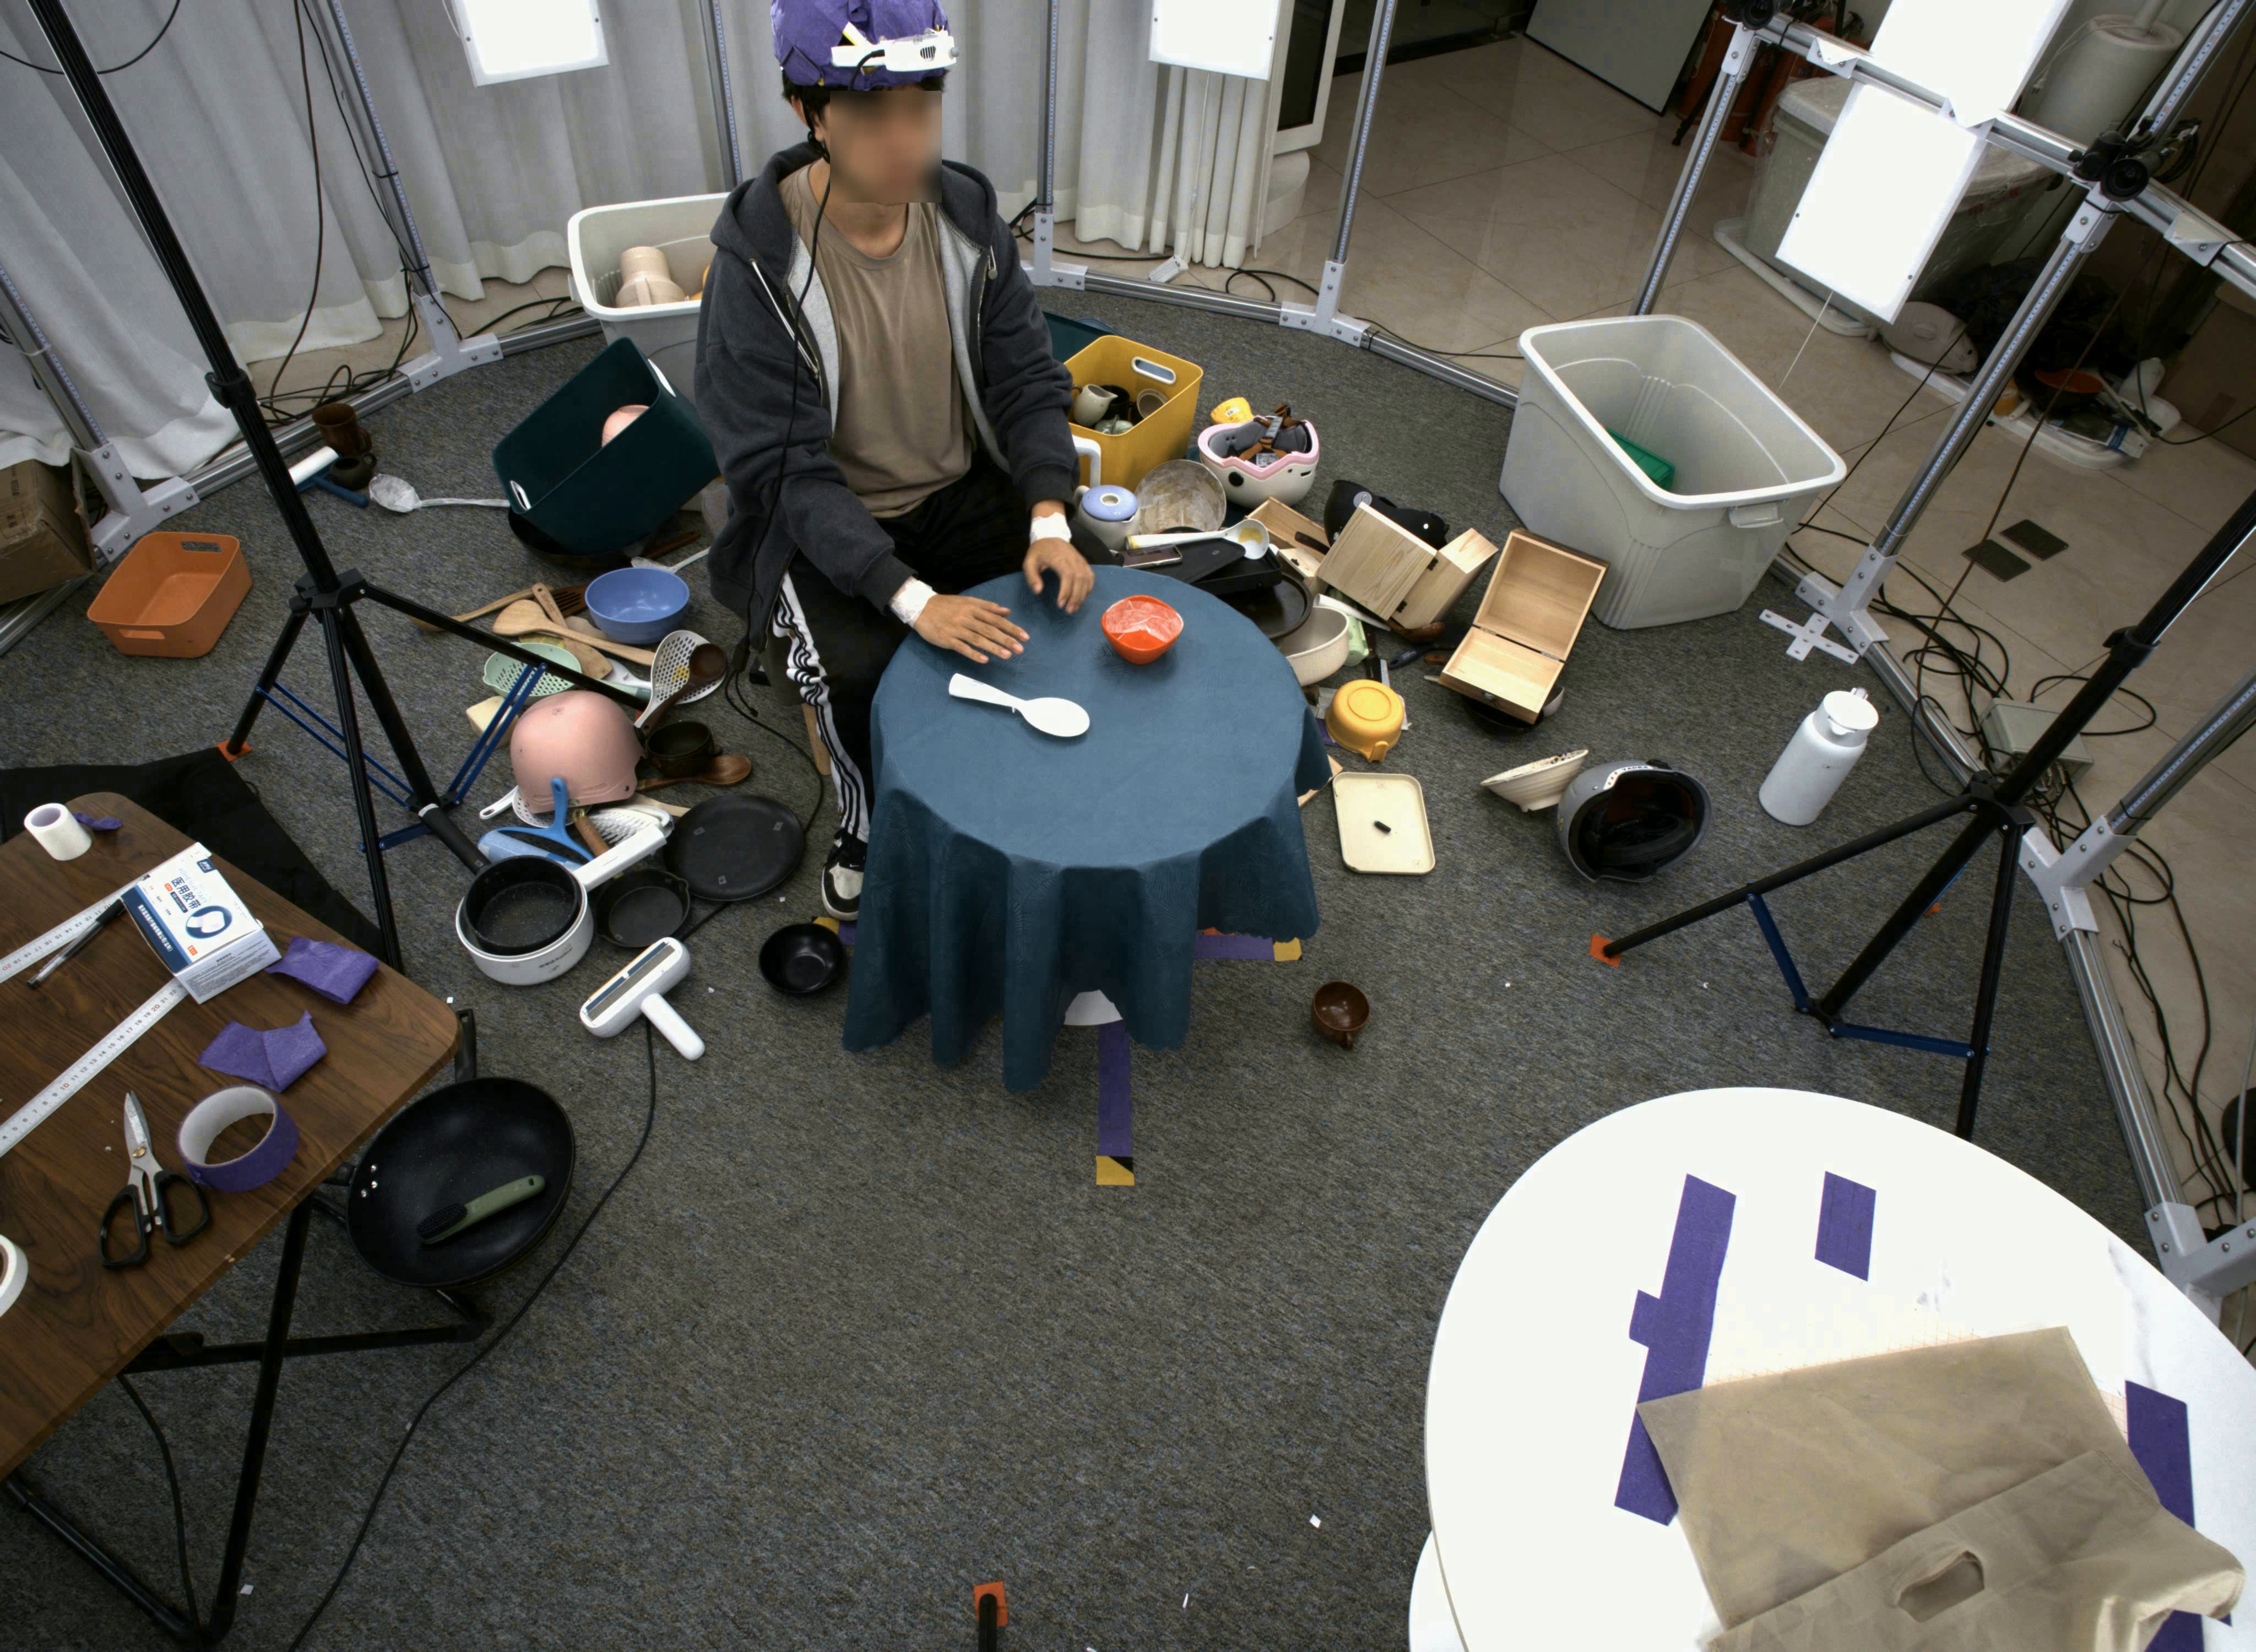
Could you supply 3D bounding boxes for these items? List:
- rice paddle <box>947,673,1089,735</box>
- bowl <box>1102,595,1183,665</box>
[{"bbox_3d":[-0.151,-0.171,1.785,0.206,0.029,0.070,17,51,11],"label":"rice paddle"},{"bbox_3d":[0.019,-0.281,1.877,0.119,0.050,0.122,2,50,-3],"label":"bowl"}]
